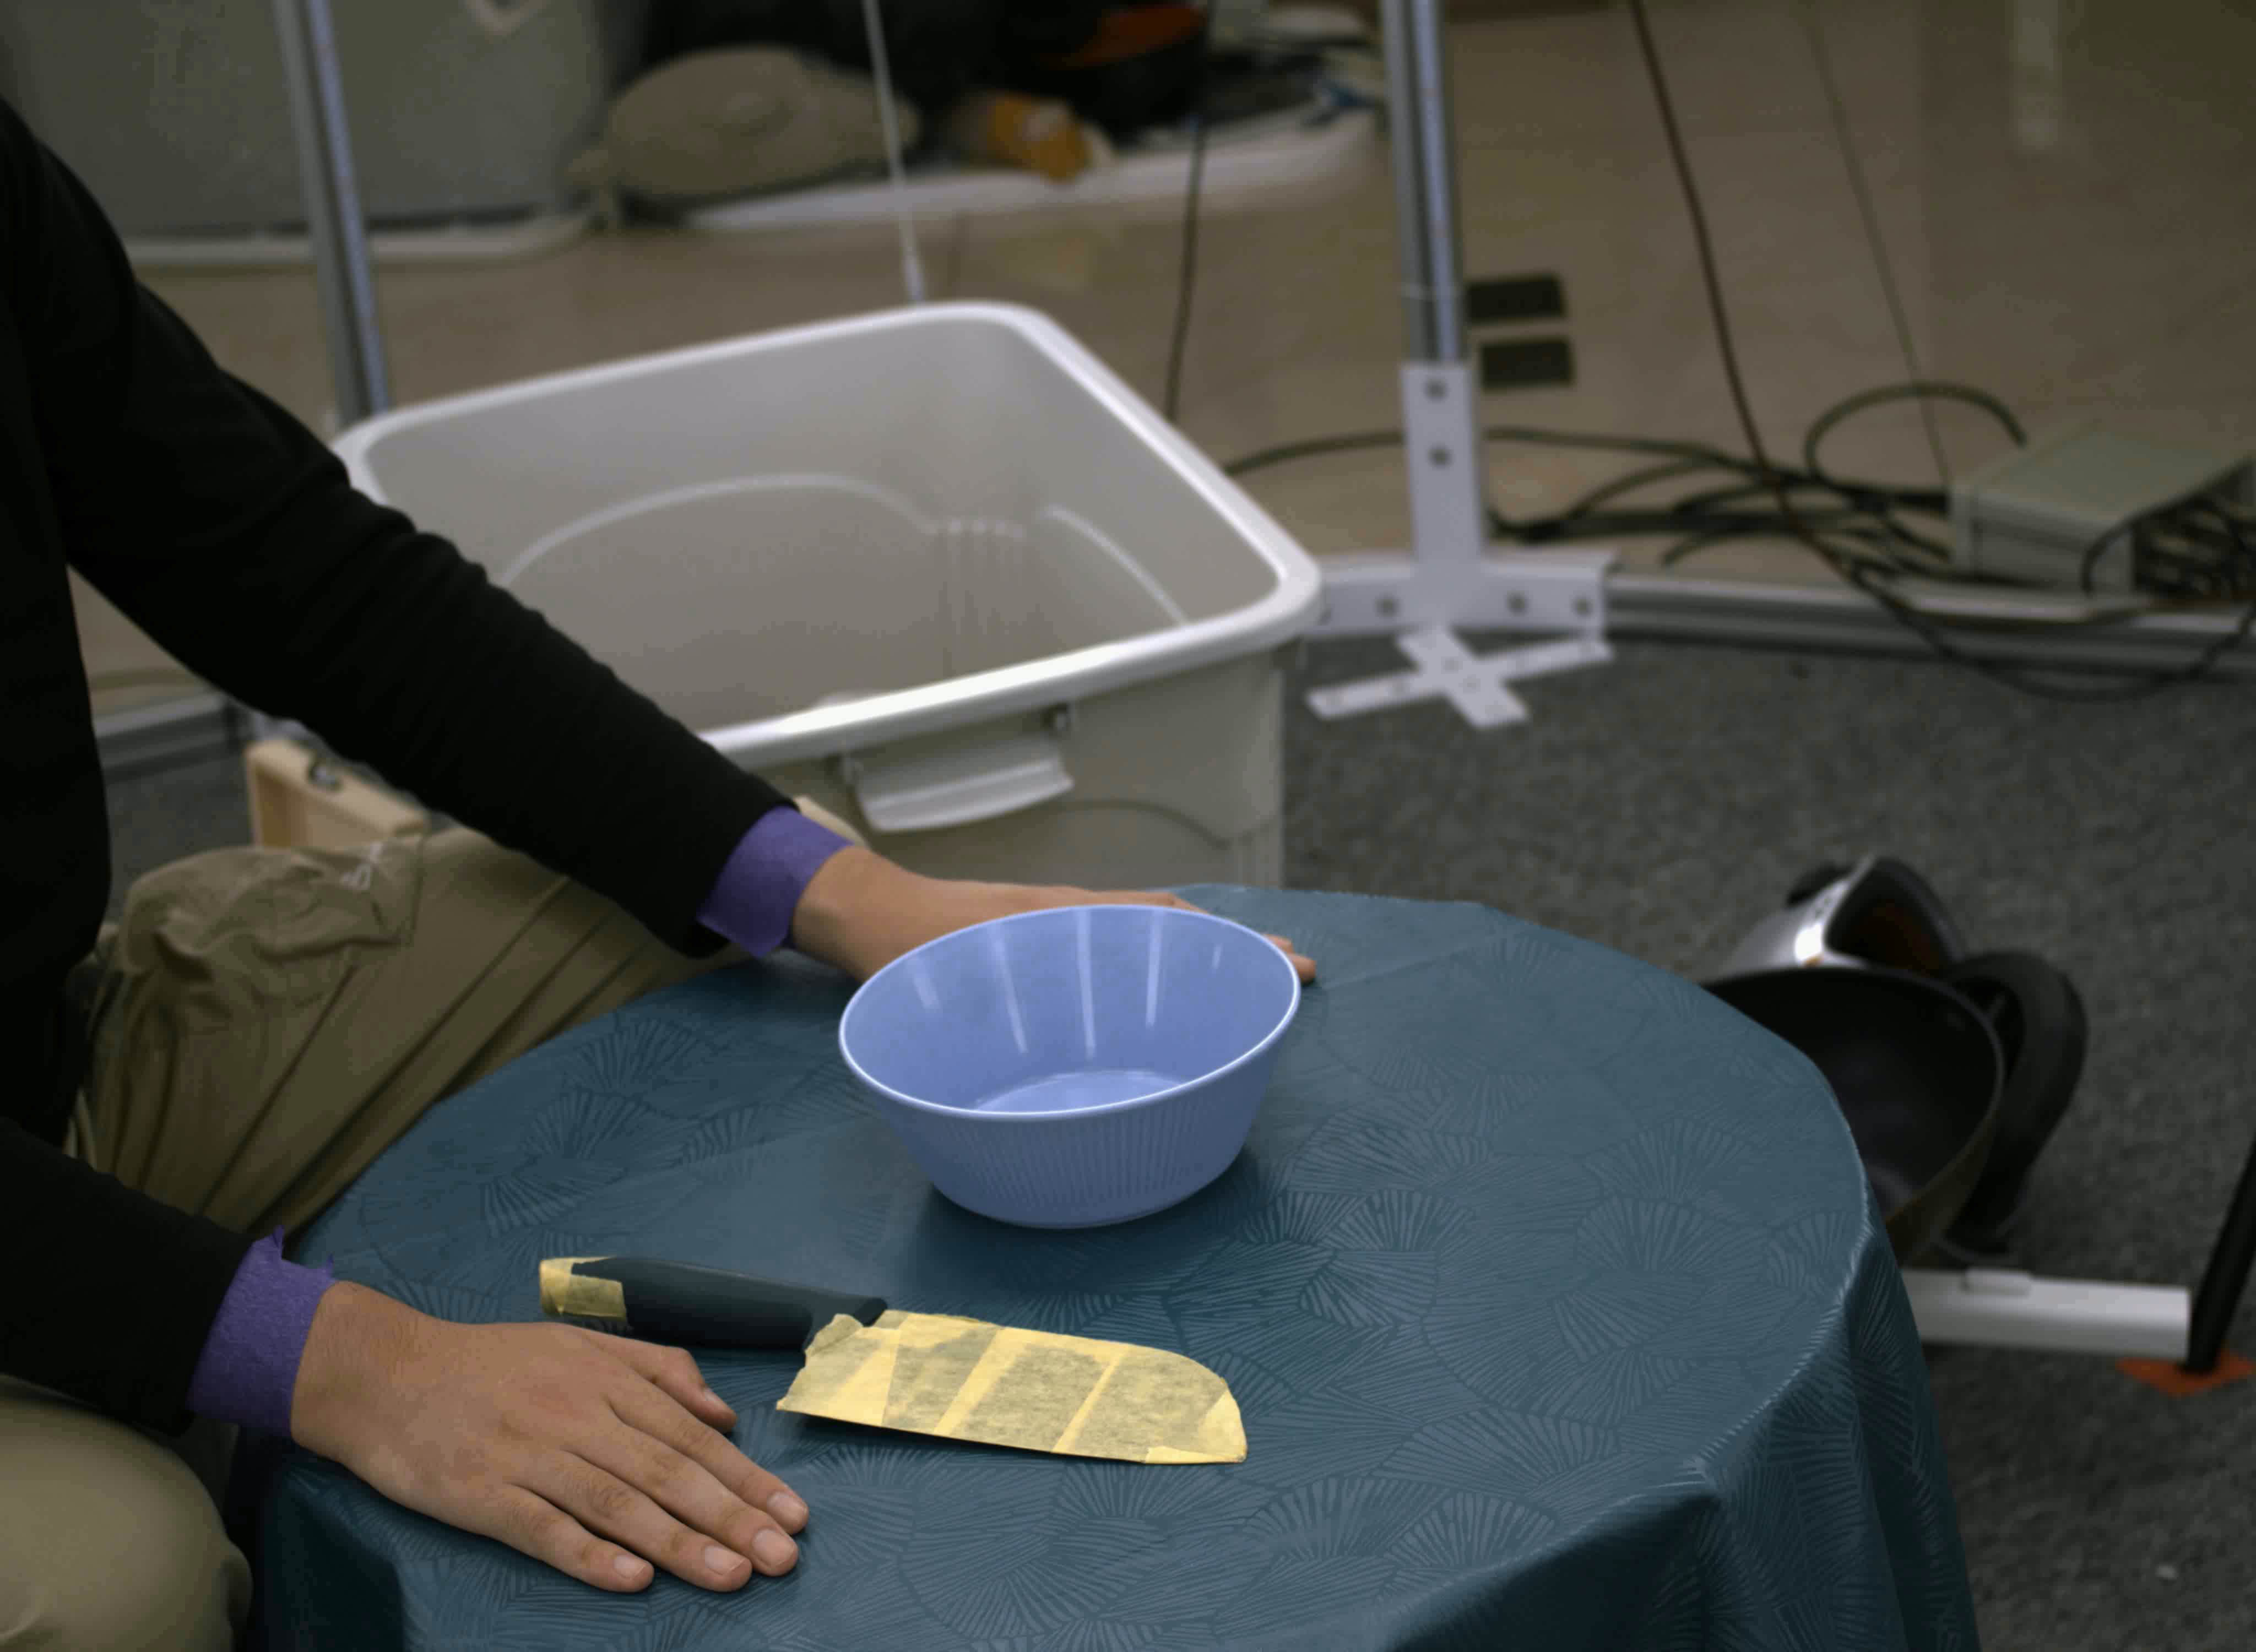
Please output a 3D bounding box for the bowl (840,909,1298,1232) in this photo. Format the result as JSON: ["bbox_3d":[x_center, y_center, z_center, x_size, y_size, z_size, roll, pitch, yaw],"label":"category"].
[{"bbox_3d":[-0.019,0.099,2.159,0.176,0.071,0.173,-5,26,3],"label":"bowl"}]

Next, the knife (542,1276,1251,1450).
[{"bbox_3d":[-0.089,0.194,2.038,0.288,0.027,0.080,6,26,23],"label":"knife"}]
